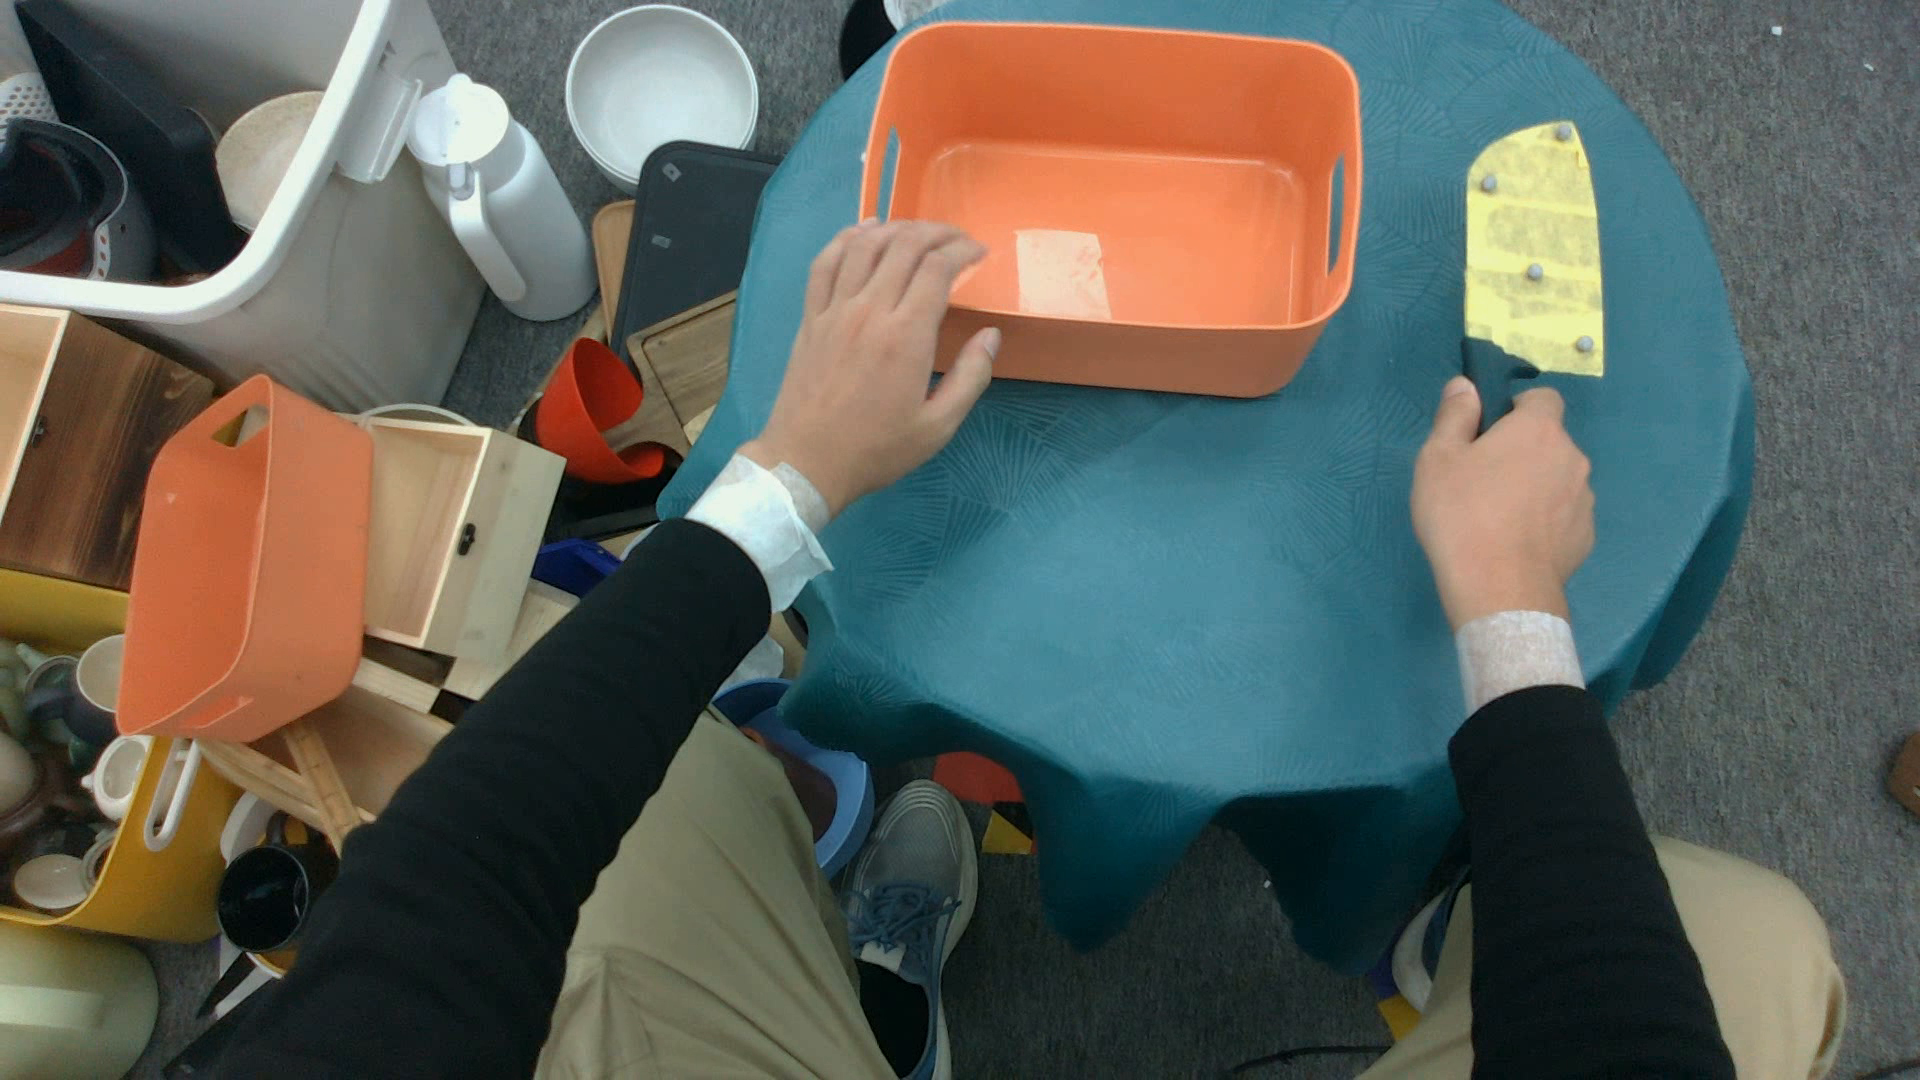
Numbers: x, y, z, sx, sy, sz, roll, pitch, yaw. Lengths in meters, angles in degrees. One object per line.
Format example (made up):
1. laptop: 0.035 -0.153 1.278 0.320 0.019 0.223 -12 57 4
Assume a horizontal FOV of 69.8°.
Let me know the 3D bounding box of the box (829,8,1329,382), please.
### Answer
1. box: 0.070 -0.196 0.808 0.273 0.102 0.200 5 68 5

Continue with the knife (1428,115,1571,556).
1. knife: 0.293 -0.121 0.754 0.081 0.027 0.290 11 67 7
